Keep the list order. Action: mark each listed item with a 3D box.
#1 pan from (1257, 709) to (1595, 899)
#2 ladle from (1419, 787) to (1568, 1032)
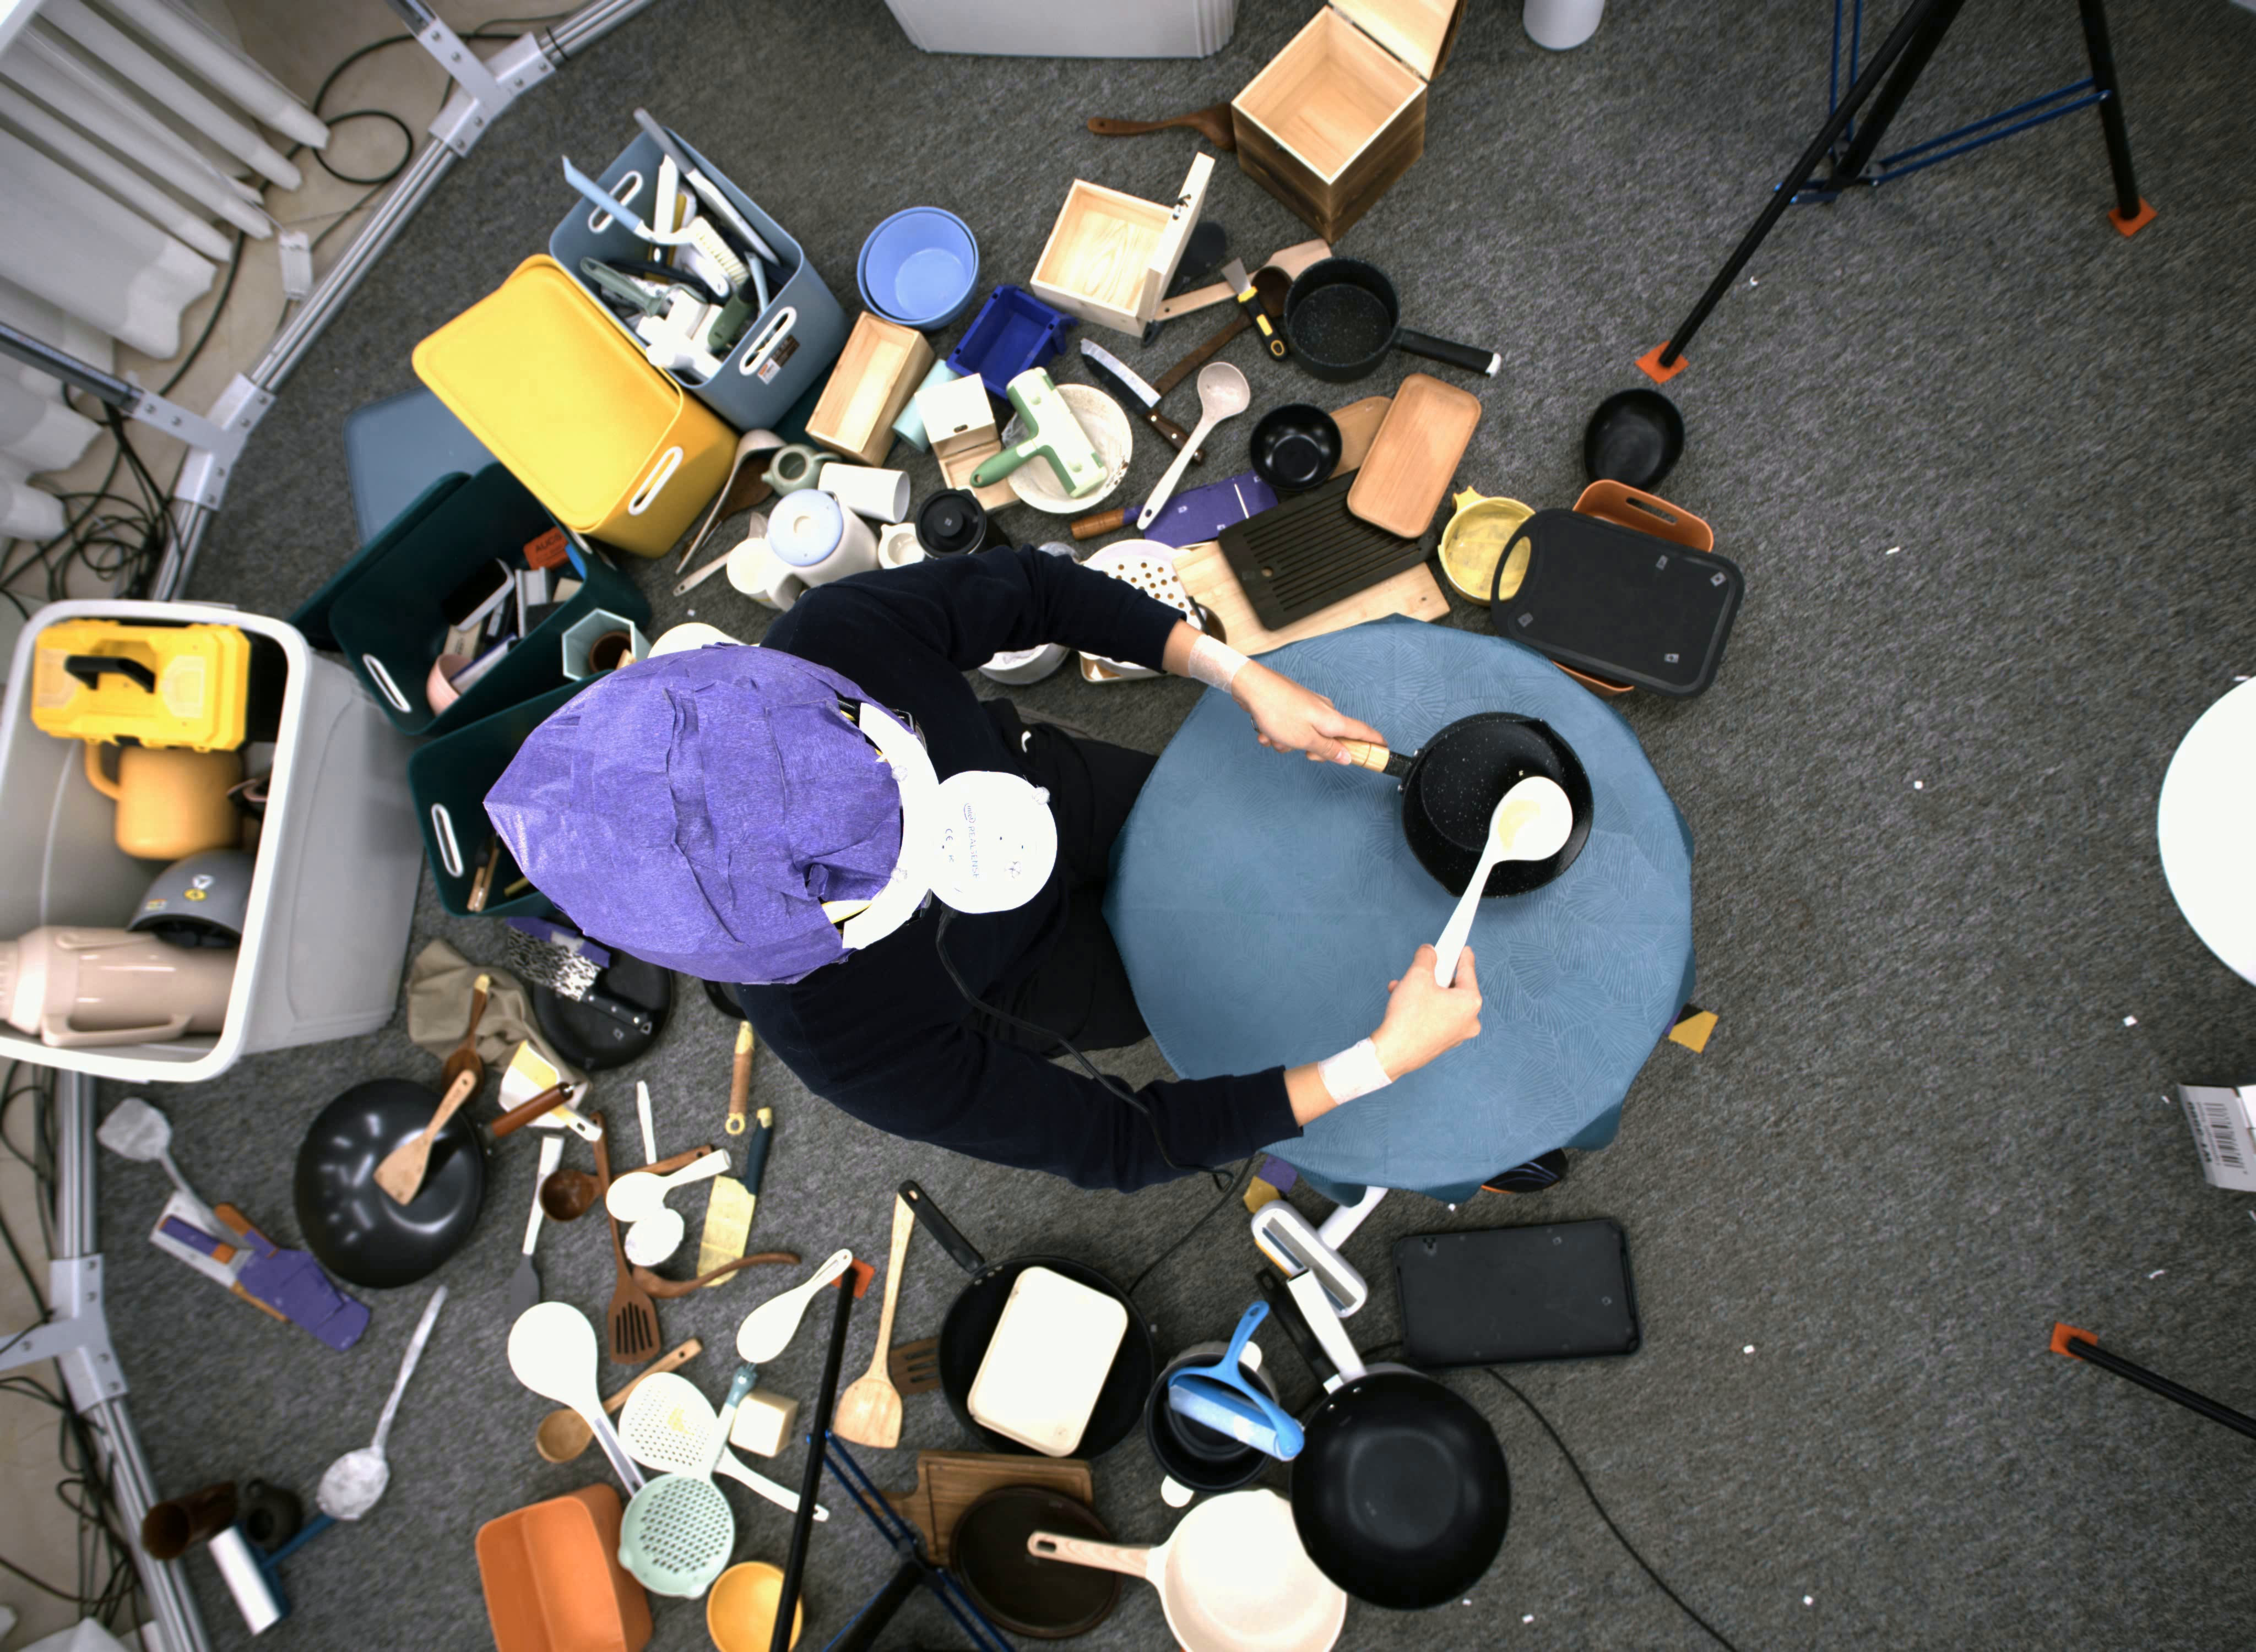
[{"bbox_3d":[0.292,-0.054,1.372,0.343,0.106,0.212,21,115,2],"label":"pan"},{"bbox_3d":[0.355,0.077,1.321,0.070,0.092,0.286,4,47,34],"label":"ladle"}]
